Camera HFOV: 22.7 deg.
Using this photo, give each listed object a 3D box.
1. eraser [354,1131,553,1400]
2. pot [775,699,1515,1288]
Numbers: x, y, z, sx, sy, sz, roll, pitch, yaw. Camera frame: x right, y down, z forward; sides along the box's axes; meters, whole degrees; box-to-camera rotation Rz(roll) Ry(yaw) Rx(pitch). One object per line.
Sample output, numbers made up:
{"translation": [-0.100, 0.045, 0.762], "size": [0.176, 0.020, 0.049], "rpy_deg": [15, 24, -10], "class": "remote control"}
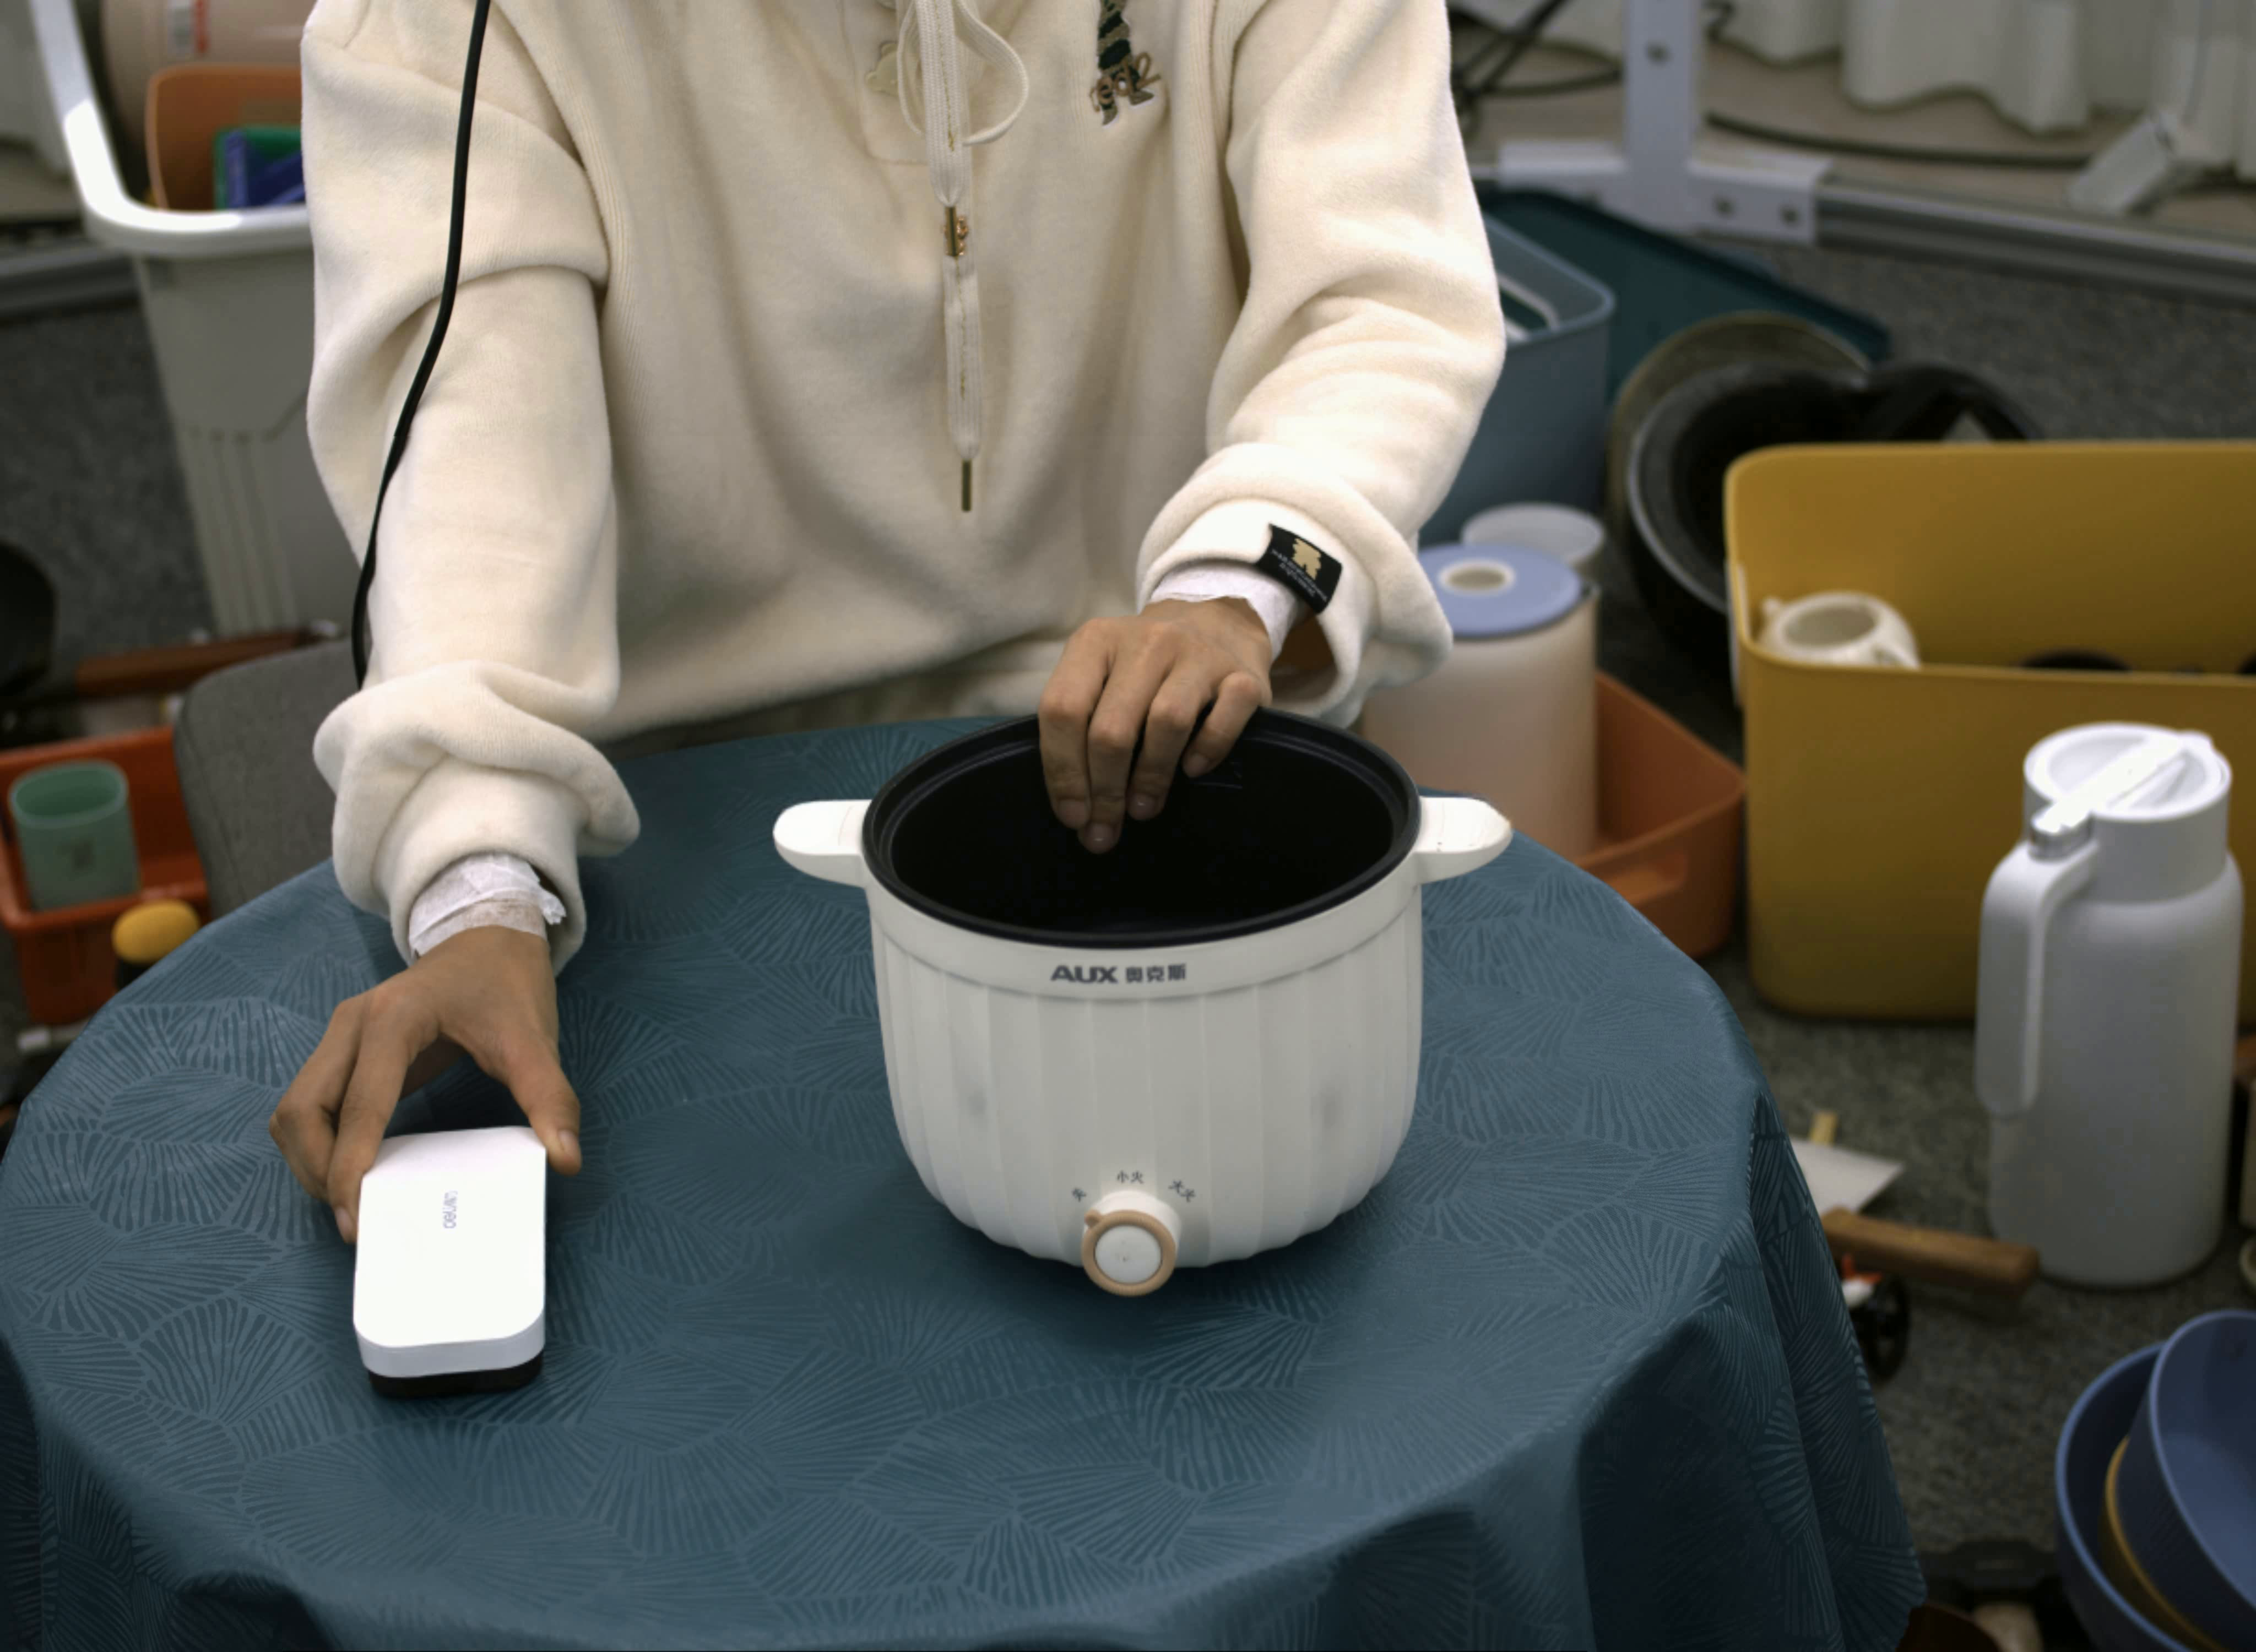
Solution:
{"translation": [-0.217, 0.139, 1.817], "size": [0.063, 0.034, 0.133], "rpy_deg": [-3, 27, -4], "class": "eraser"}
{"translation": [0.008, 0.057, 1.830], "size": [0.239, 0.141, 0.193], "rpy_deg": [-2, 20, 5], "class": "pot"}
